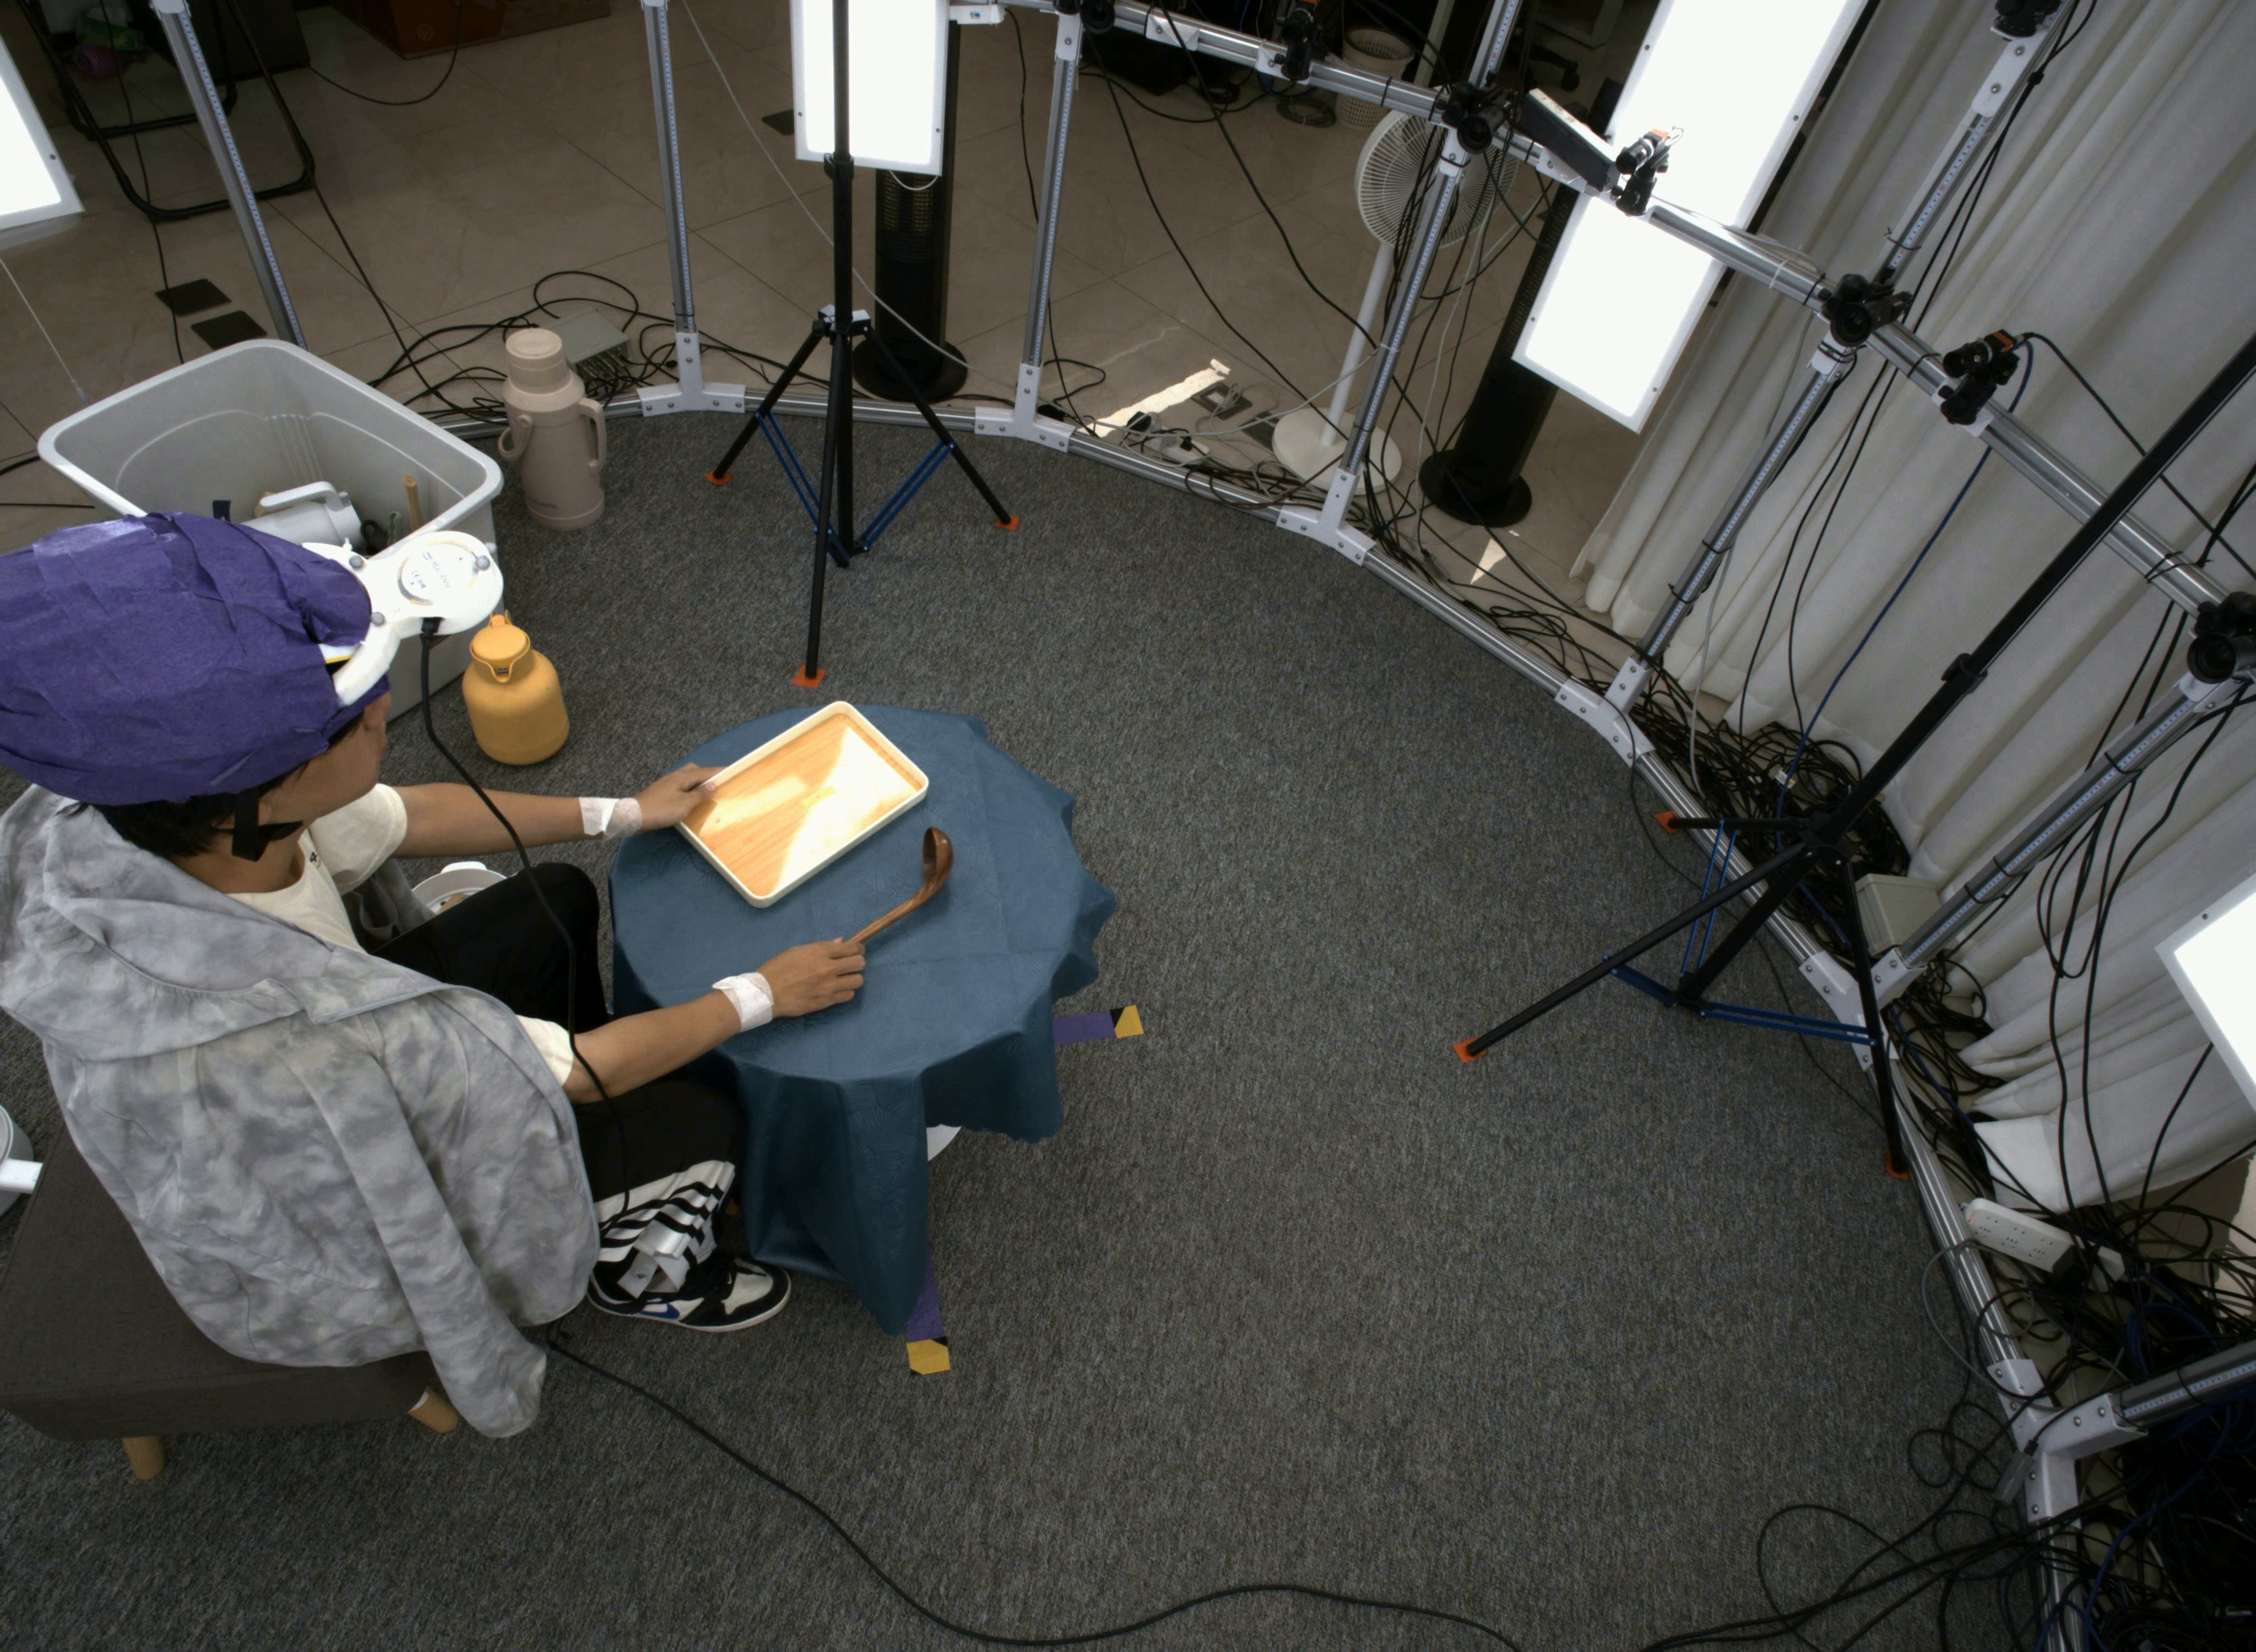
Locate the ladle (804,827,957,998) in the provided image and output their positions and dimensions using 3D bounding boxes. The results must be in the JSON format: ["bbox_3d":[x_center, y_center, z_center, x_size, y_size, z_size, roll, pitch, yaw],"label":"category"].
[{"bbox_3d":[-0.317,0.100,1.636,0.274,0.082,0.076,-39,82,-28],"label":"ladle"}]

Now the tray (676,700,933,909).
[{"bbox_3d":[-0.426,-0.036,1.724,0.188,0.028,0.301,43,56,12],"label":"tray"}]
